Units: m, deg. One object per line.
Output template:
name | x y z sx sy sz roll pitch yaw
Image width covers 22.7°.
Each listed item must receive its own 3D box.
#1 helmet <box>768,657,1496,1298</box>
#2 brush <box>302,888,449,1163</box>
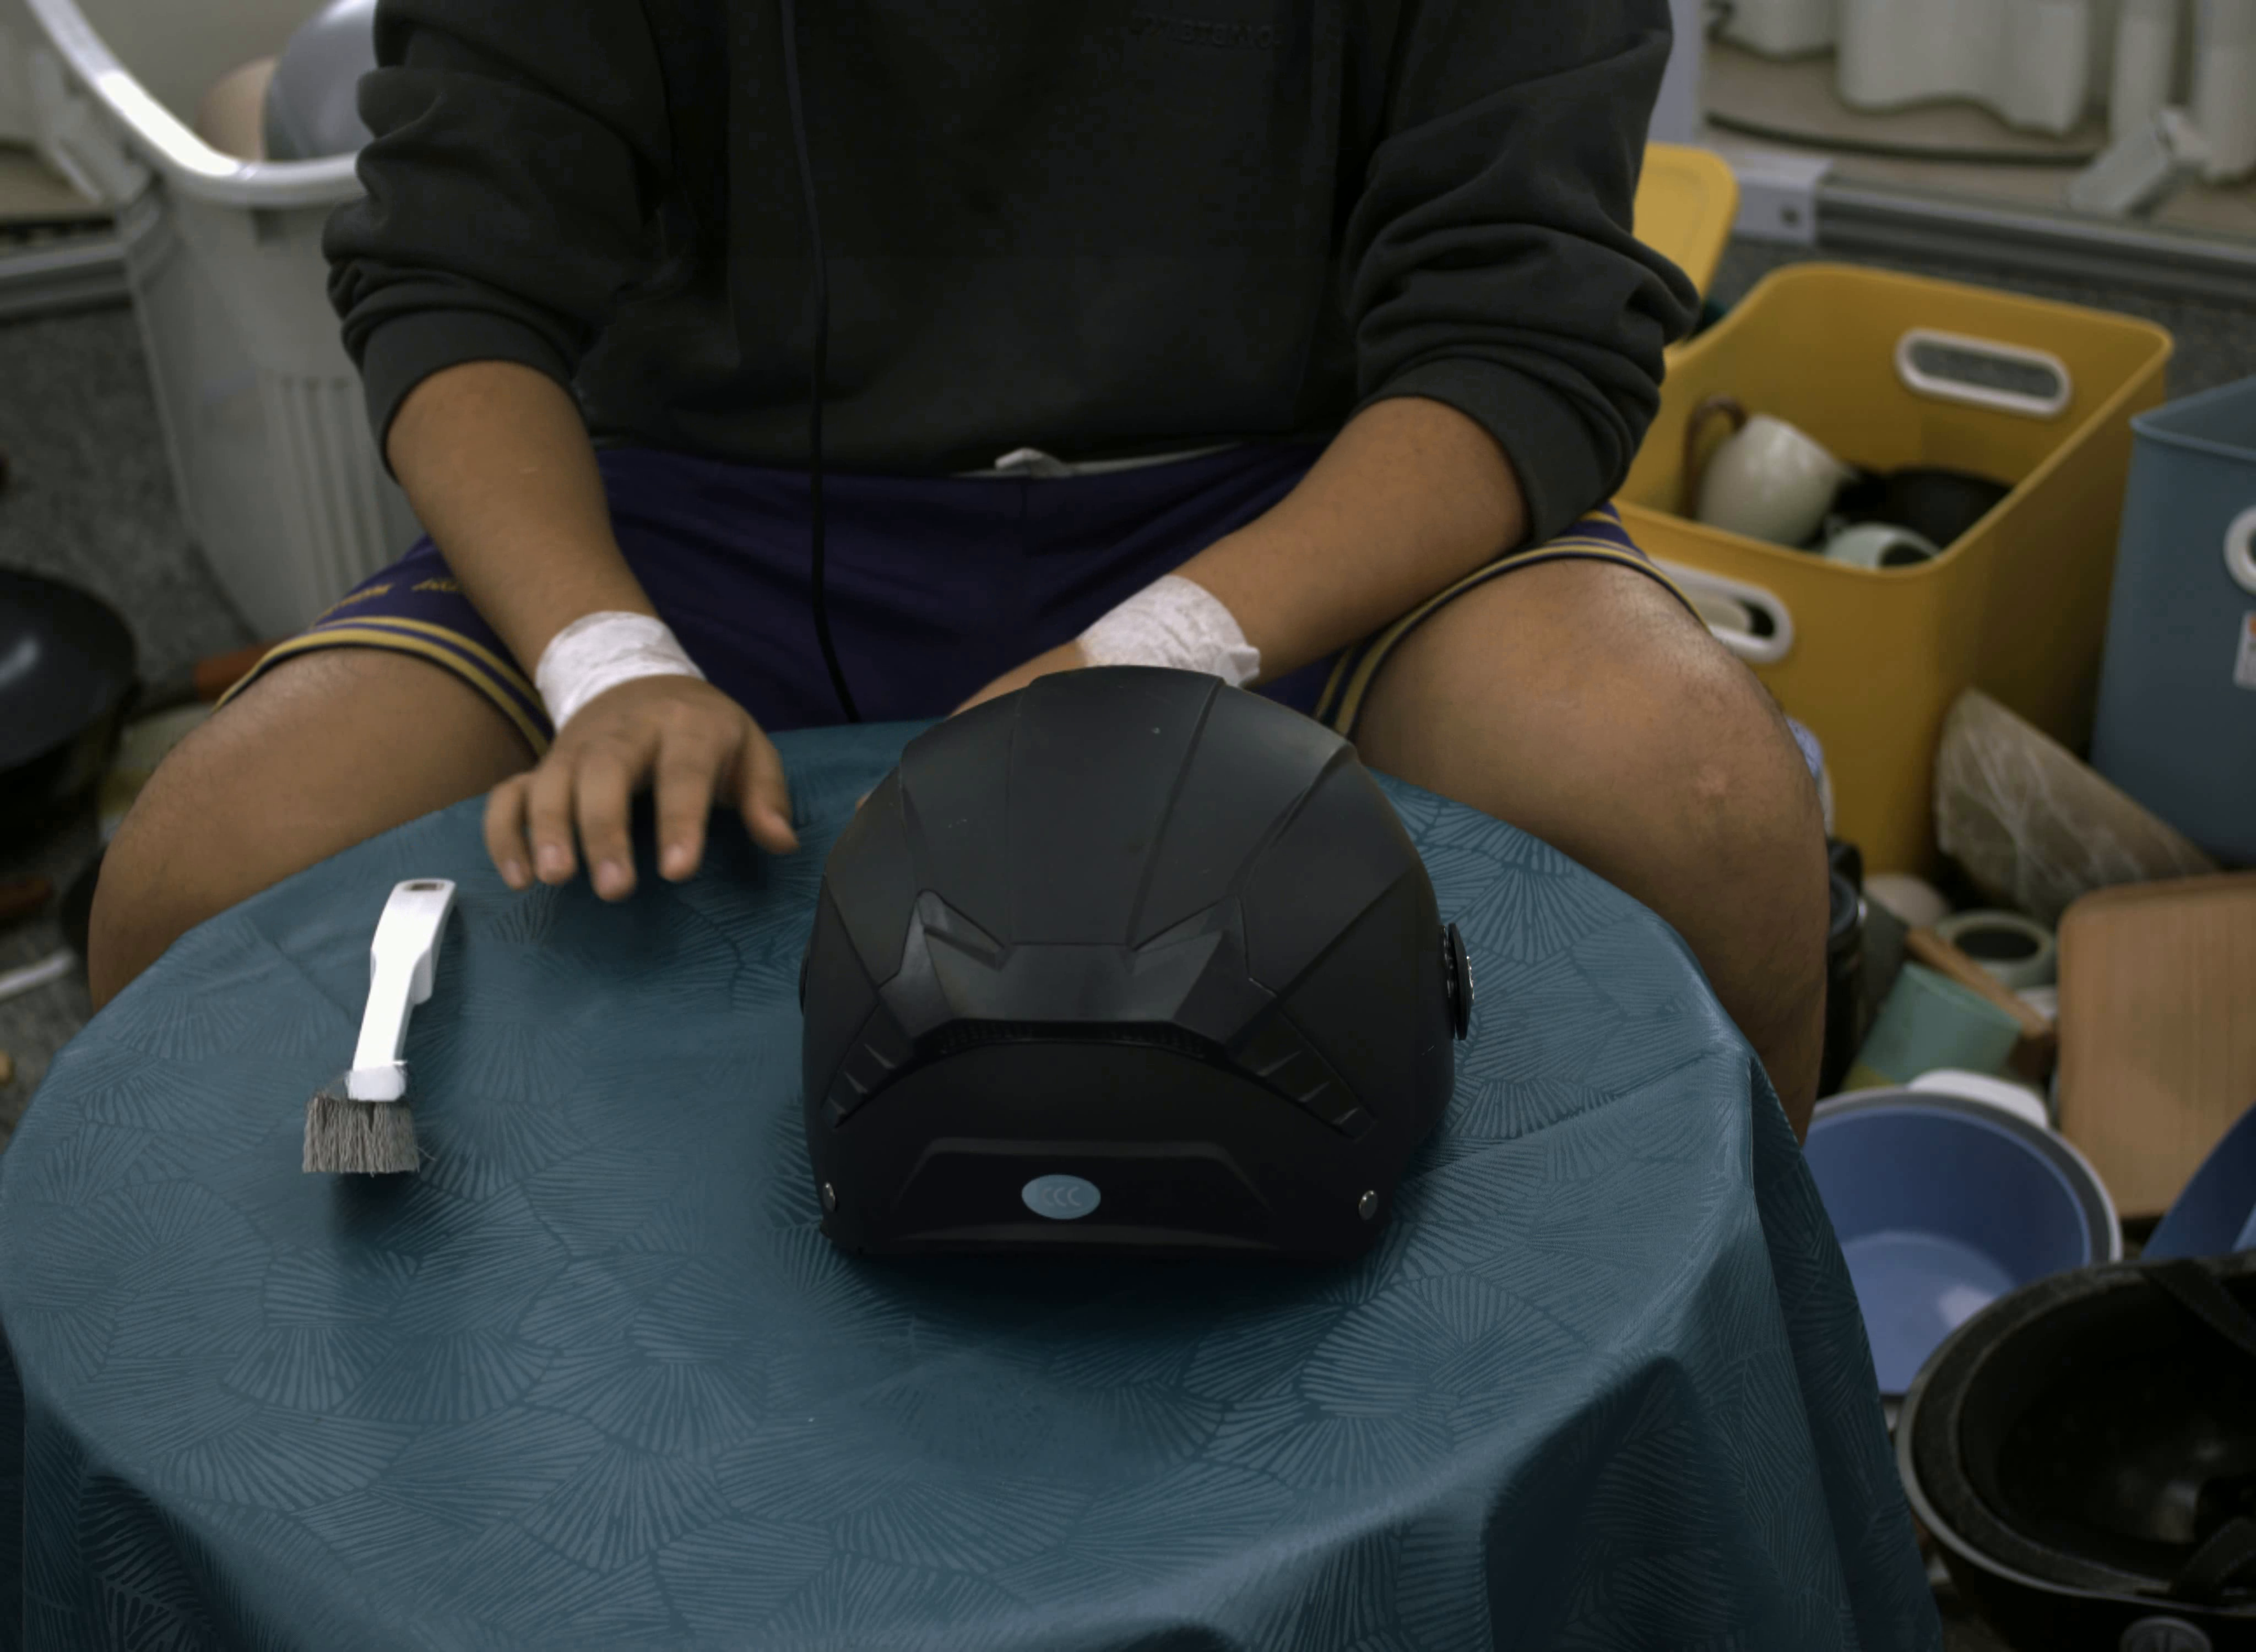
helmet | 0.001 0.033 1.862 0.245 0.170 0.281 2 30 9
brush | -0.258 0.073 1.956 0.034 0.050 0.245 -2 14 -1
